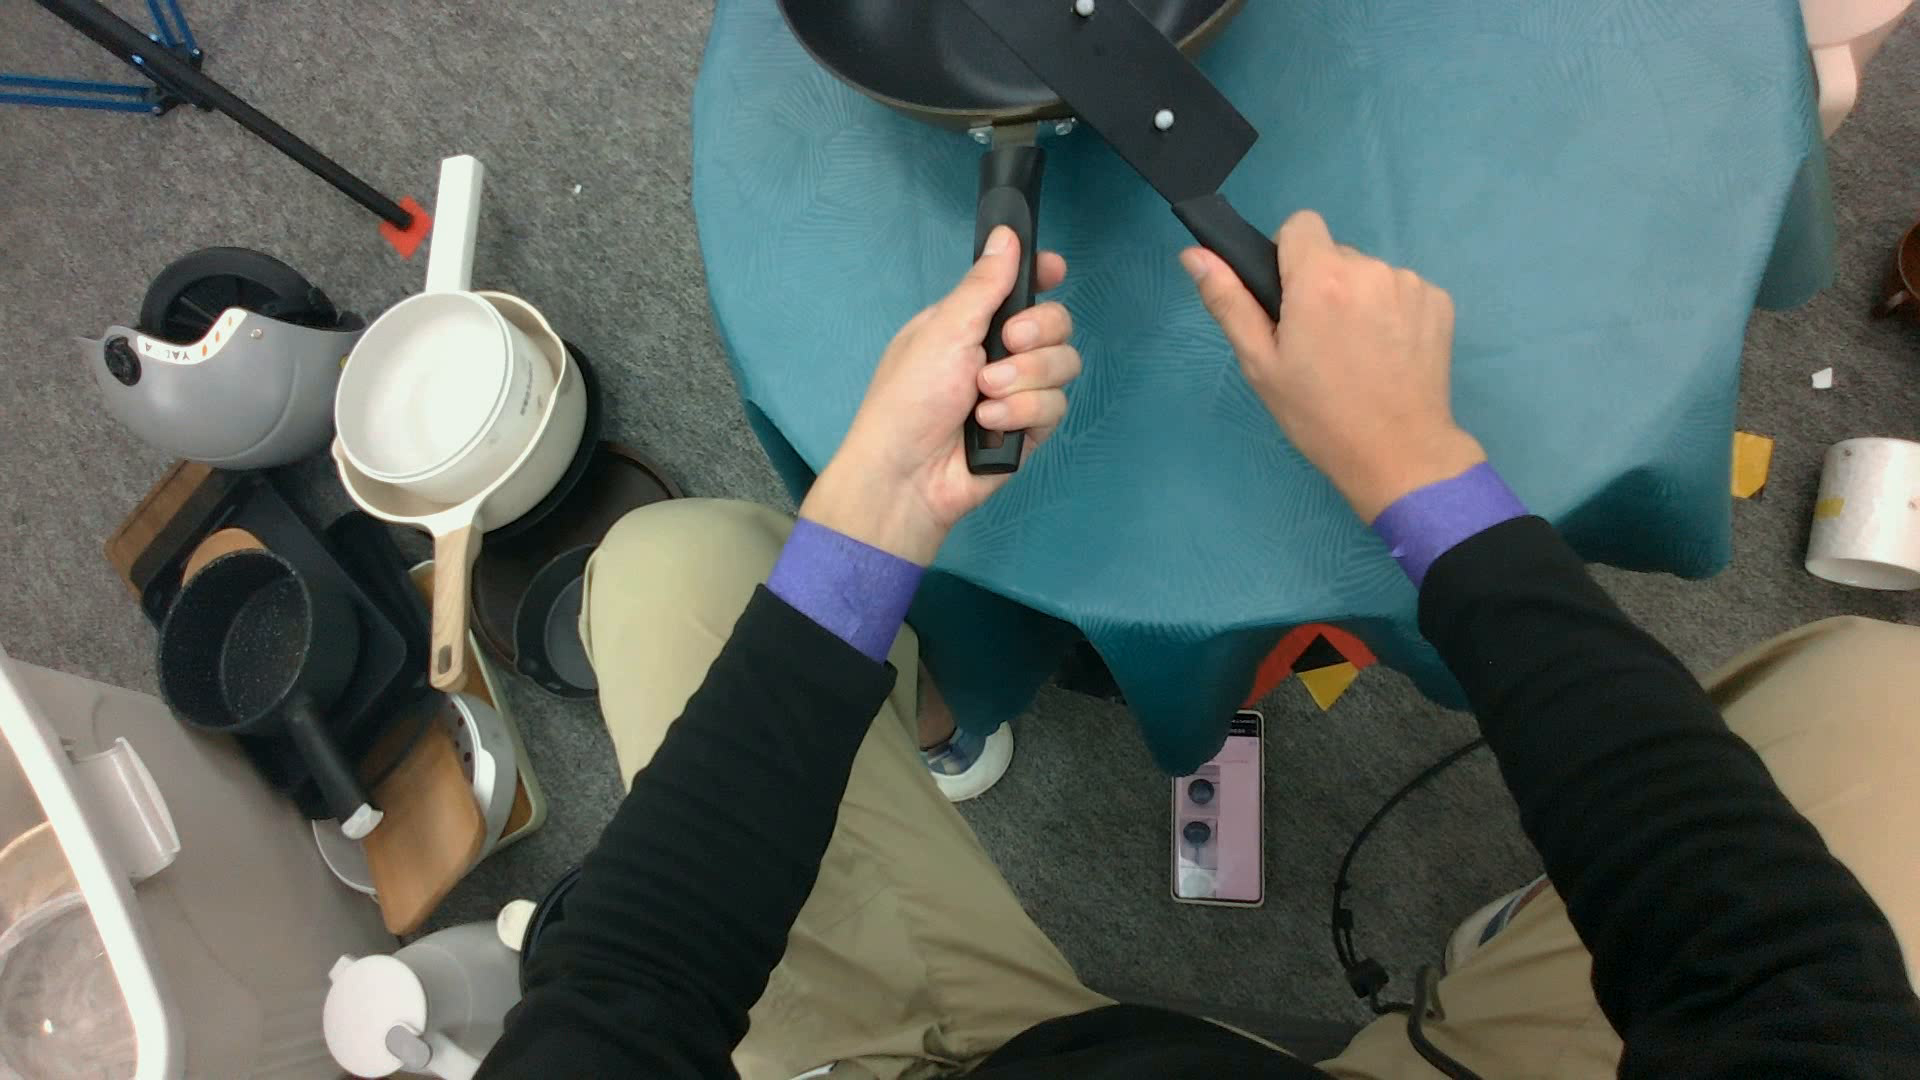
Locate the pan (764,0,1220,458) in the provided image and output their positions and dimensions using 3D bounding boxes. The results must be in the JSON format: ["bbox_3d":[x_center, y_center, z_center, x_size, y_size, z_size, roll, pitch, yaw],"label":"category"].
[{"bbox_3d":[0.026,-0.246,0.717,0.288,0.087,0.464,-2,70,14],"label":"pan"}]

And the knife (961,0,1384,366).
[{"bbox_3d":[0.091,-0.195,0.642,0.302,0.021,0.081,46,67,-6],"label":"knife"}]
